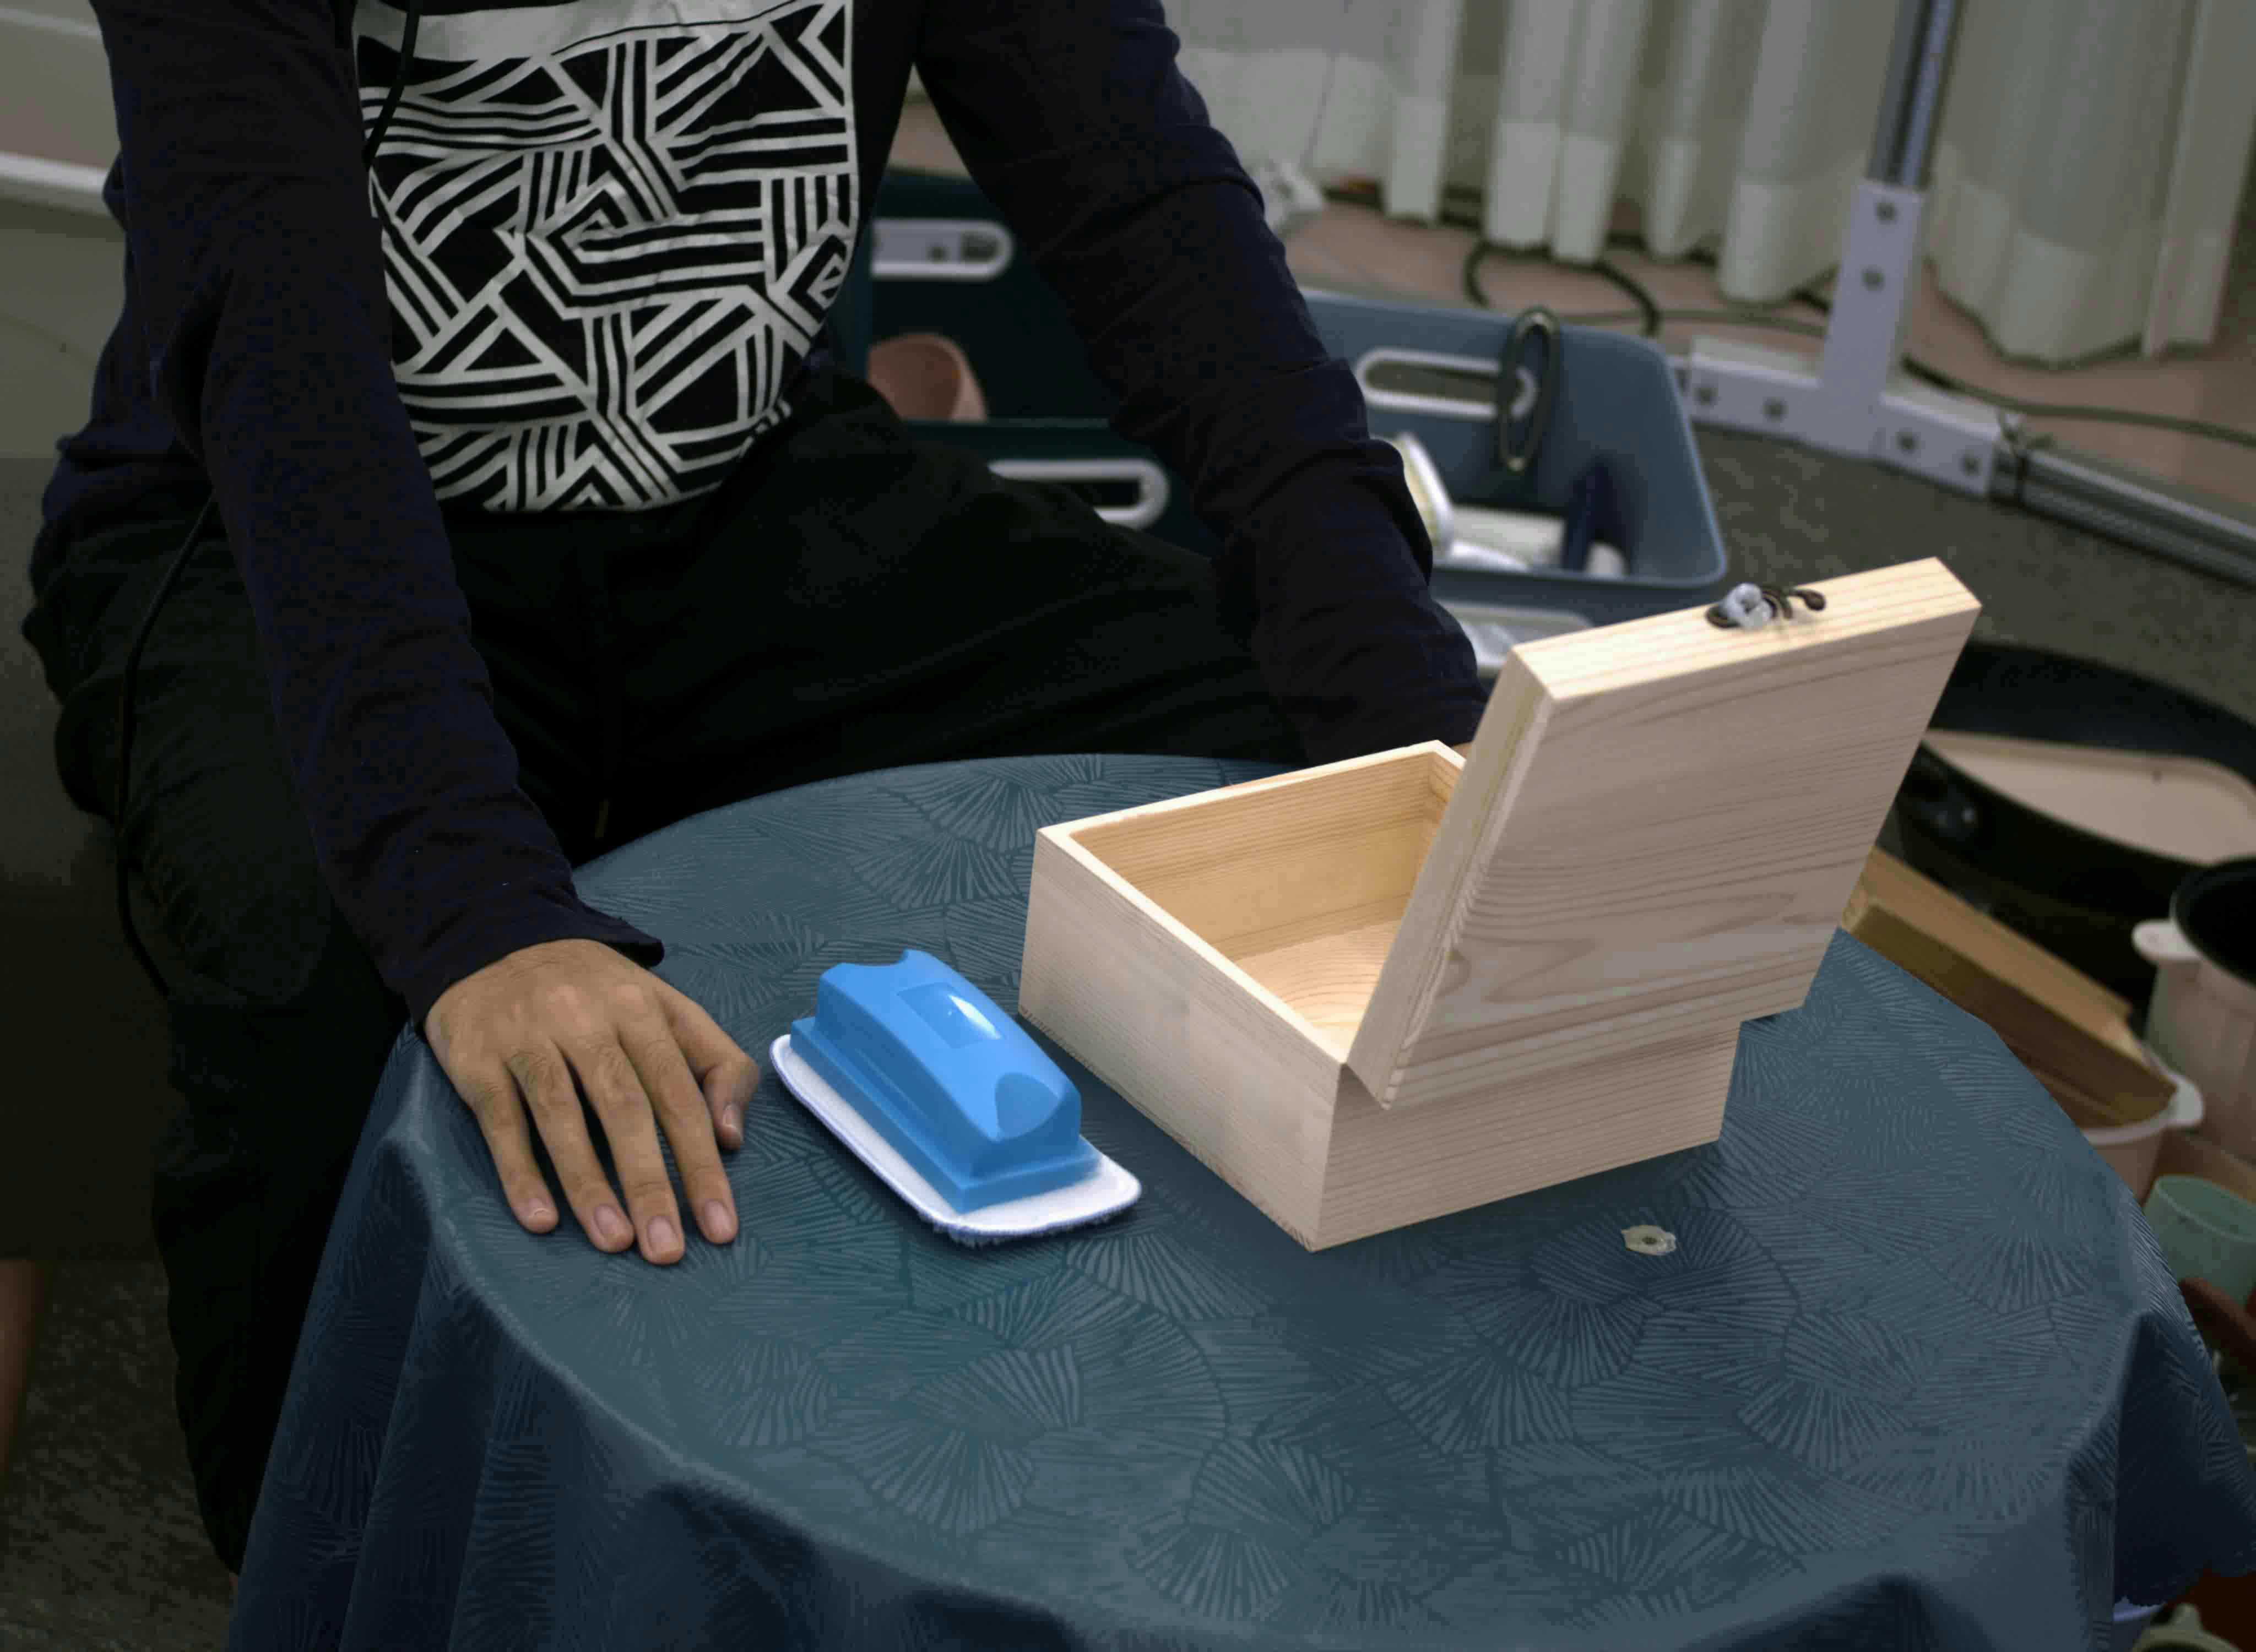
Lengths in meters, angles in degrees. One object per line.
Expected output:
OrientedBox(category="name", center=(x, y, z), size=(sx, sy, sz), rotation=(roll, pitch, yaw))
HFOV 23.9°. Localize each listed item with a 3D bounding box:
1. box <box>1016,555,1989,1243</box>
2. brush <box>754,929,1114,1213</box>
OrientedBox(category="box", center=(0.117, -0.008, 1.813), size=(0.180, 0.252, 0.267), rotation=(-12, 32, -34))
OrientedBox(category="brush", center=(-0.064, 0.079, 1.813), size=(0.083, 0.056, 0.145), rotation=(-6, 31, -30))
